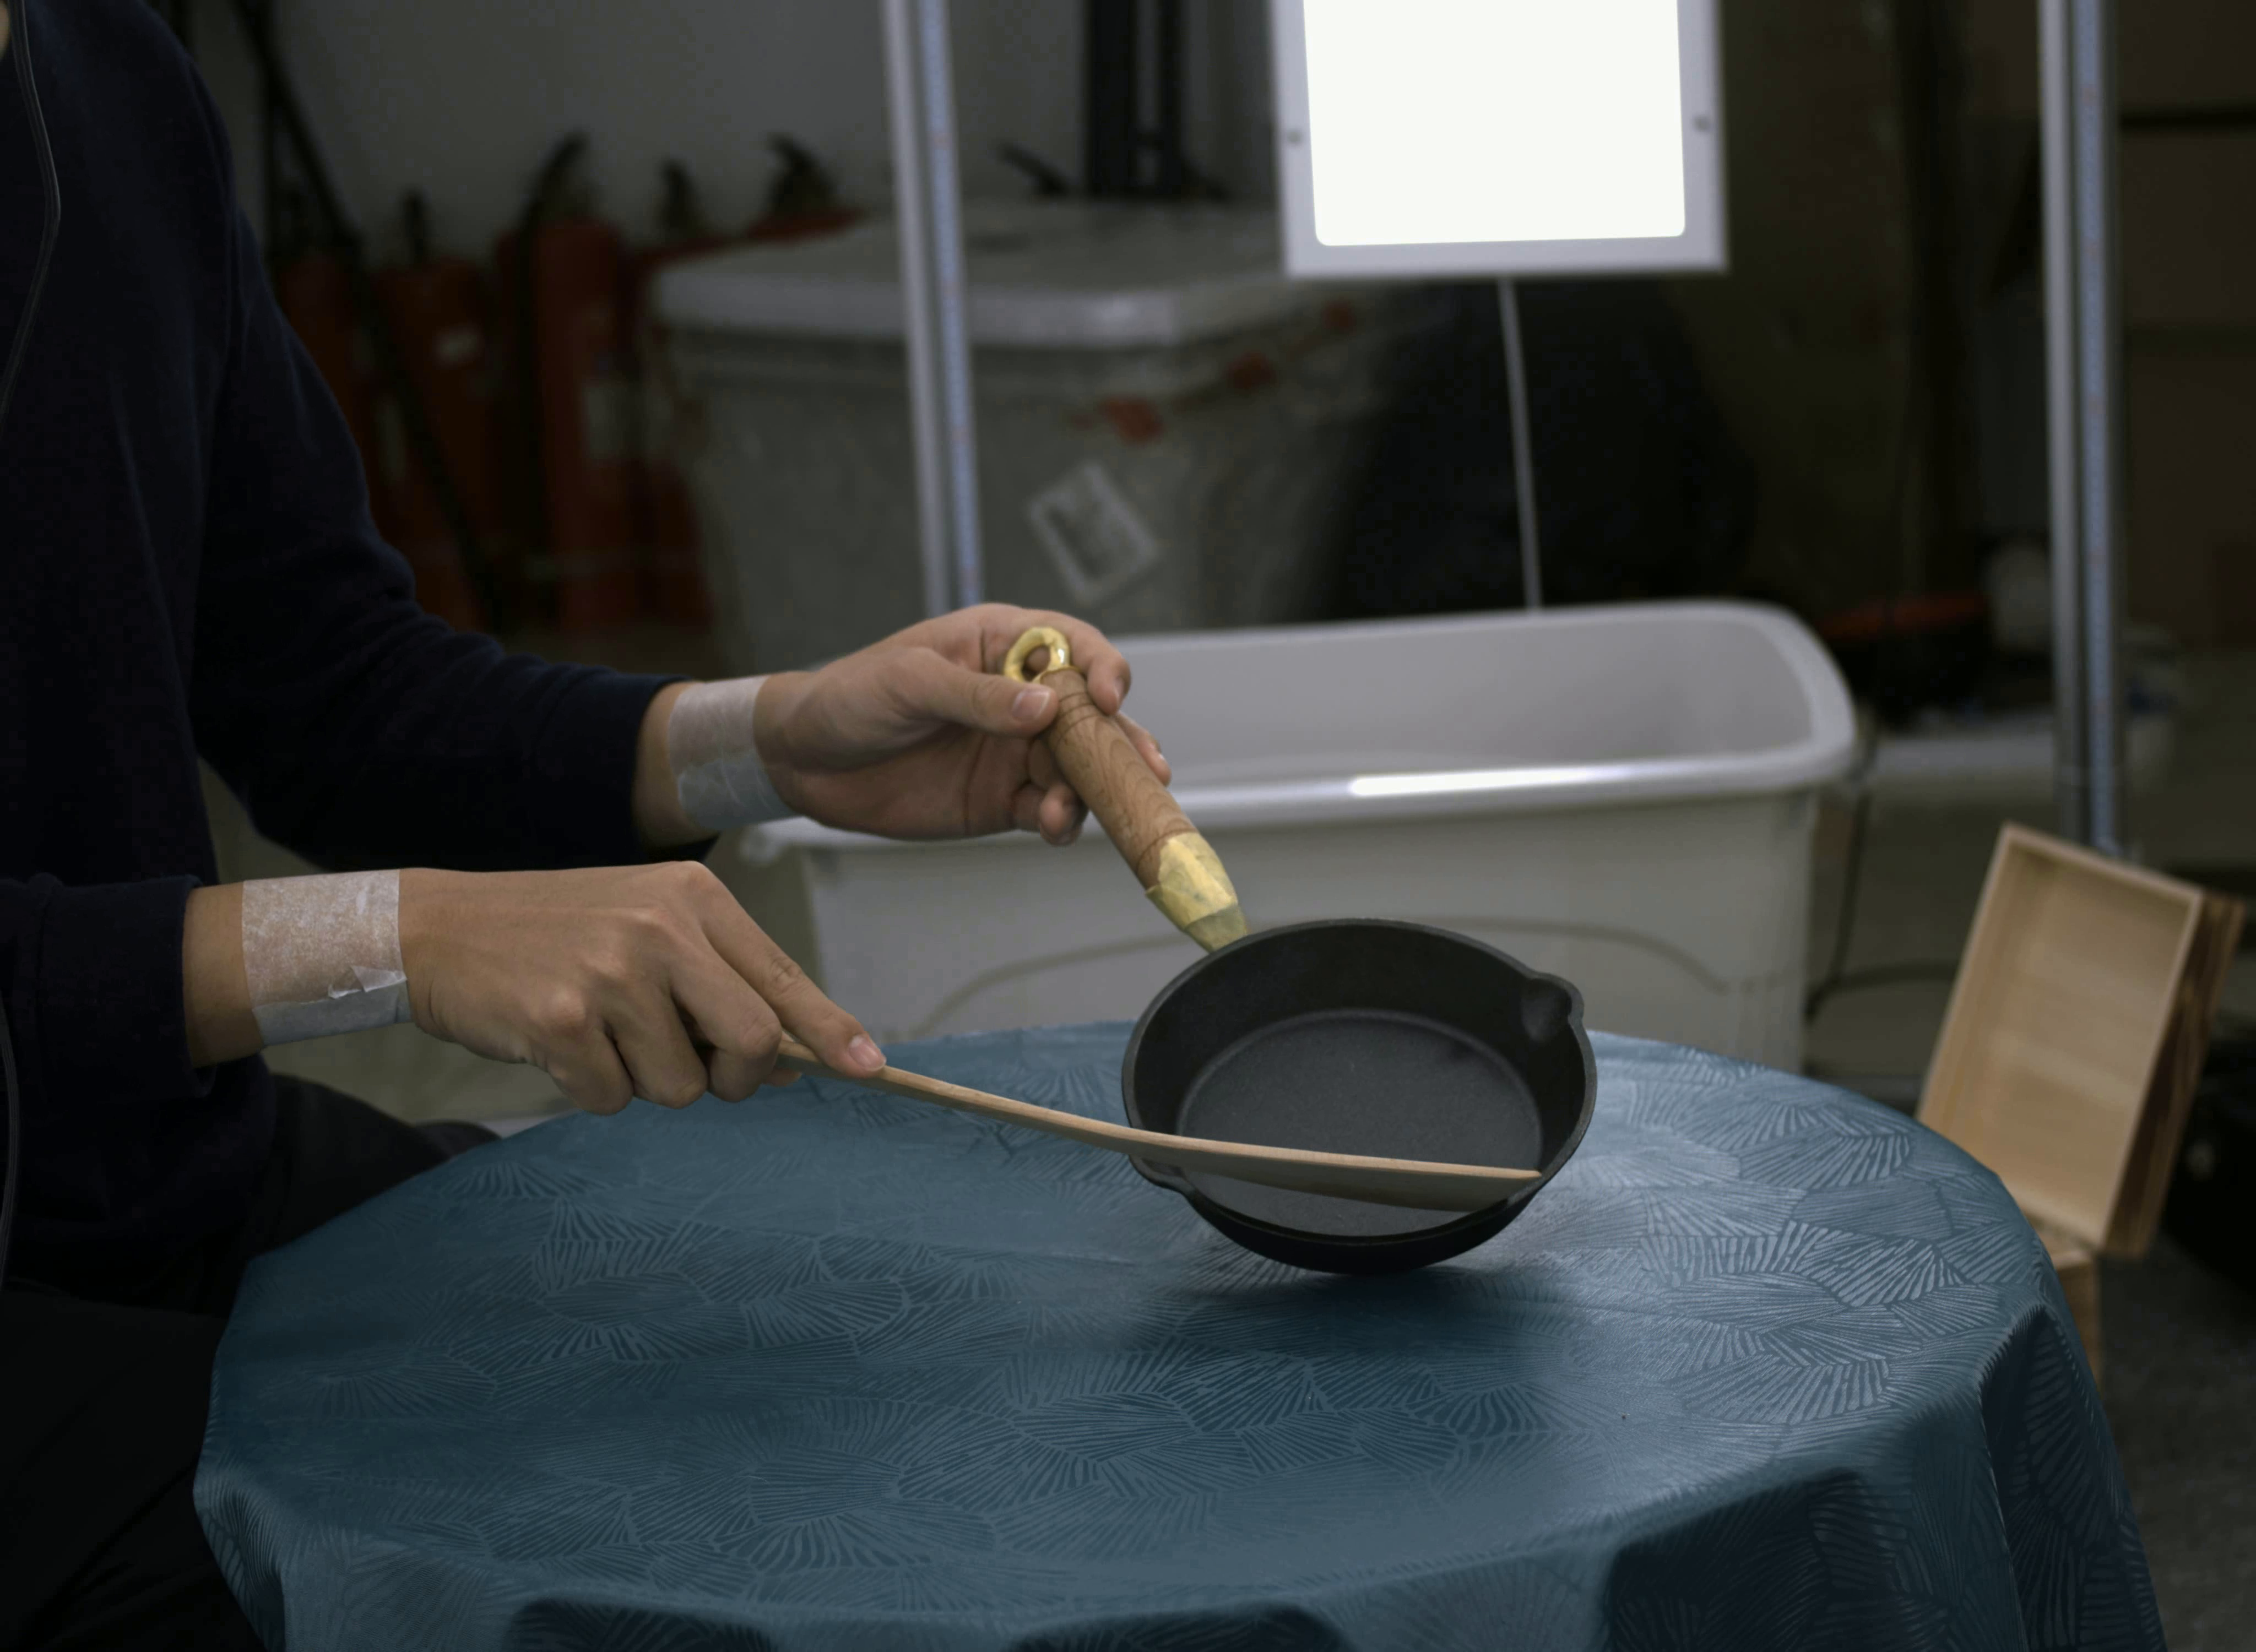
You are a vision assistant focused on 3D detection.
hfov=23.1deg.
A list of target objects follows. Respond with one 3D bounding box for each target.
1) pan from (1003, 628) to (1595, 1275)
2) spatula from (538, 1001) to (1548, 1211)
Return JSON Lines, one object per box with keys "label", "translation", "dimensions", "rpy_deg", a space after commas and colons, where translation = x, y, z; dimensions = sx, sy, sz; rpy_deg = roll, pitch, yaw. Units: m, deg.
{"label": "pan", "translation": [0.038, 0.039, 1.881], "dimensions": [0.166, 0.050, 0.328], "rpy_deg": [-21, 44, -17]}
{"label": "spatula", "translation": [-0.029, 0.089, 1.765], "dimensions": [0.328, 0.016, 0.080], "rpy_deg": [12, -13, 5]}
